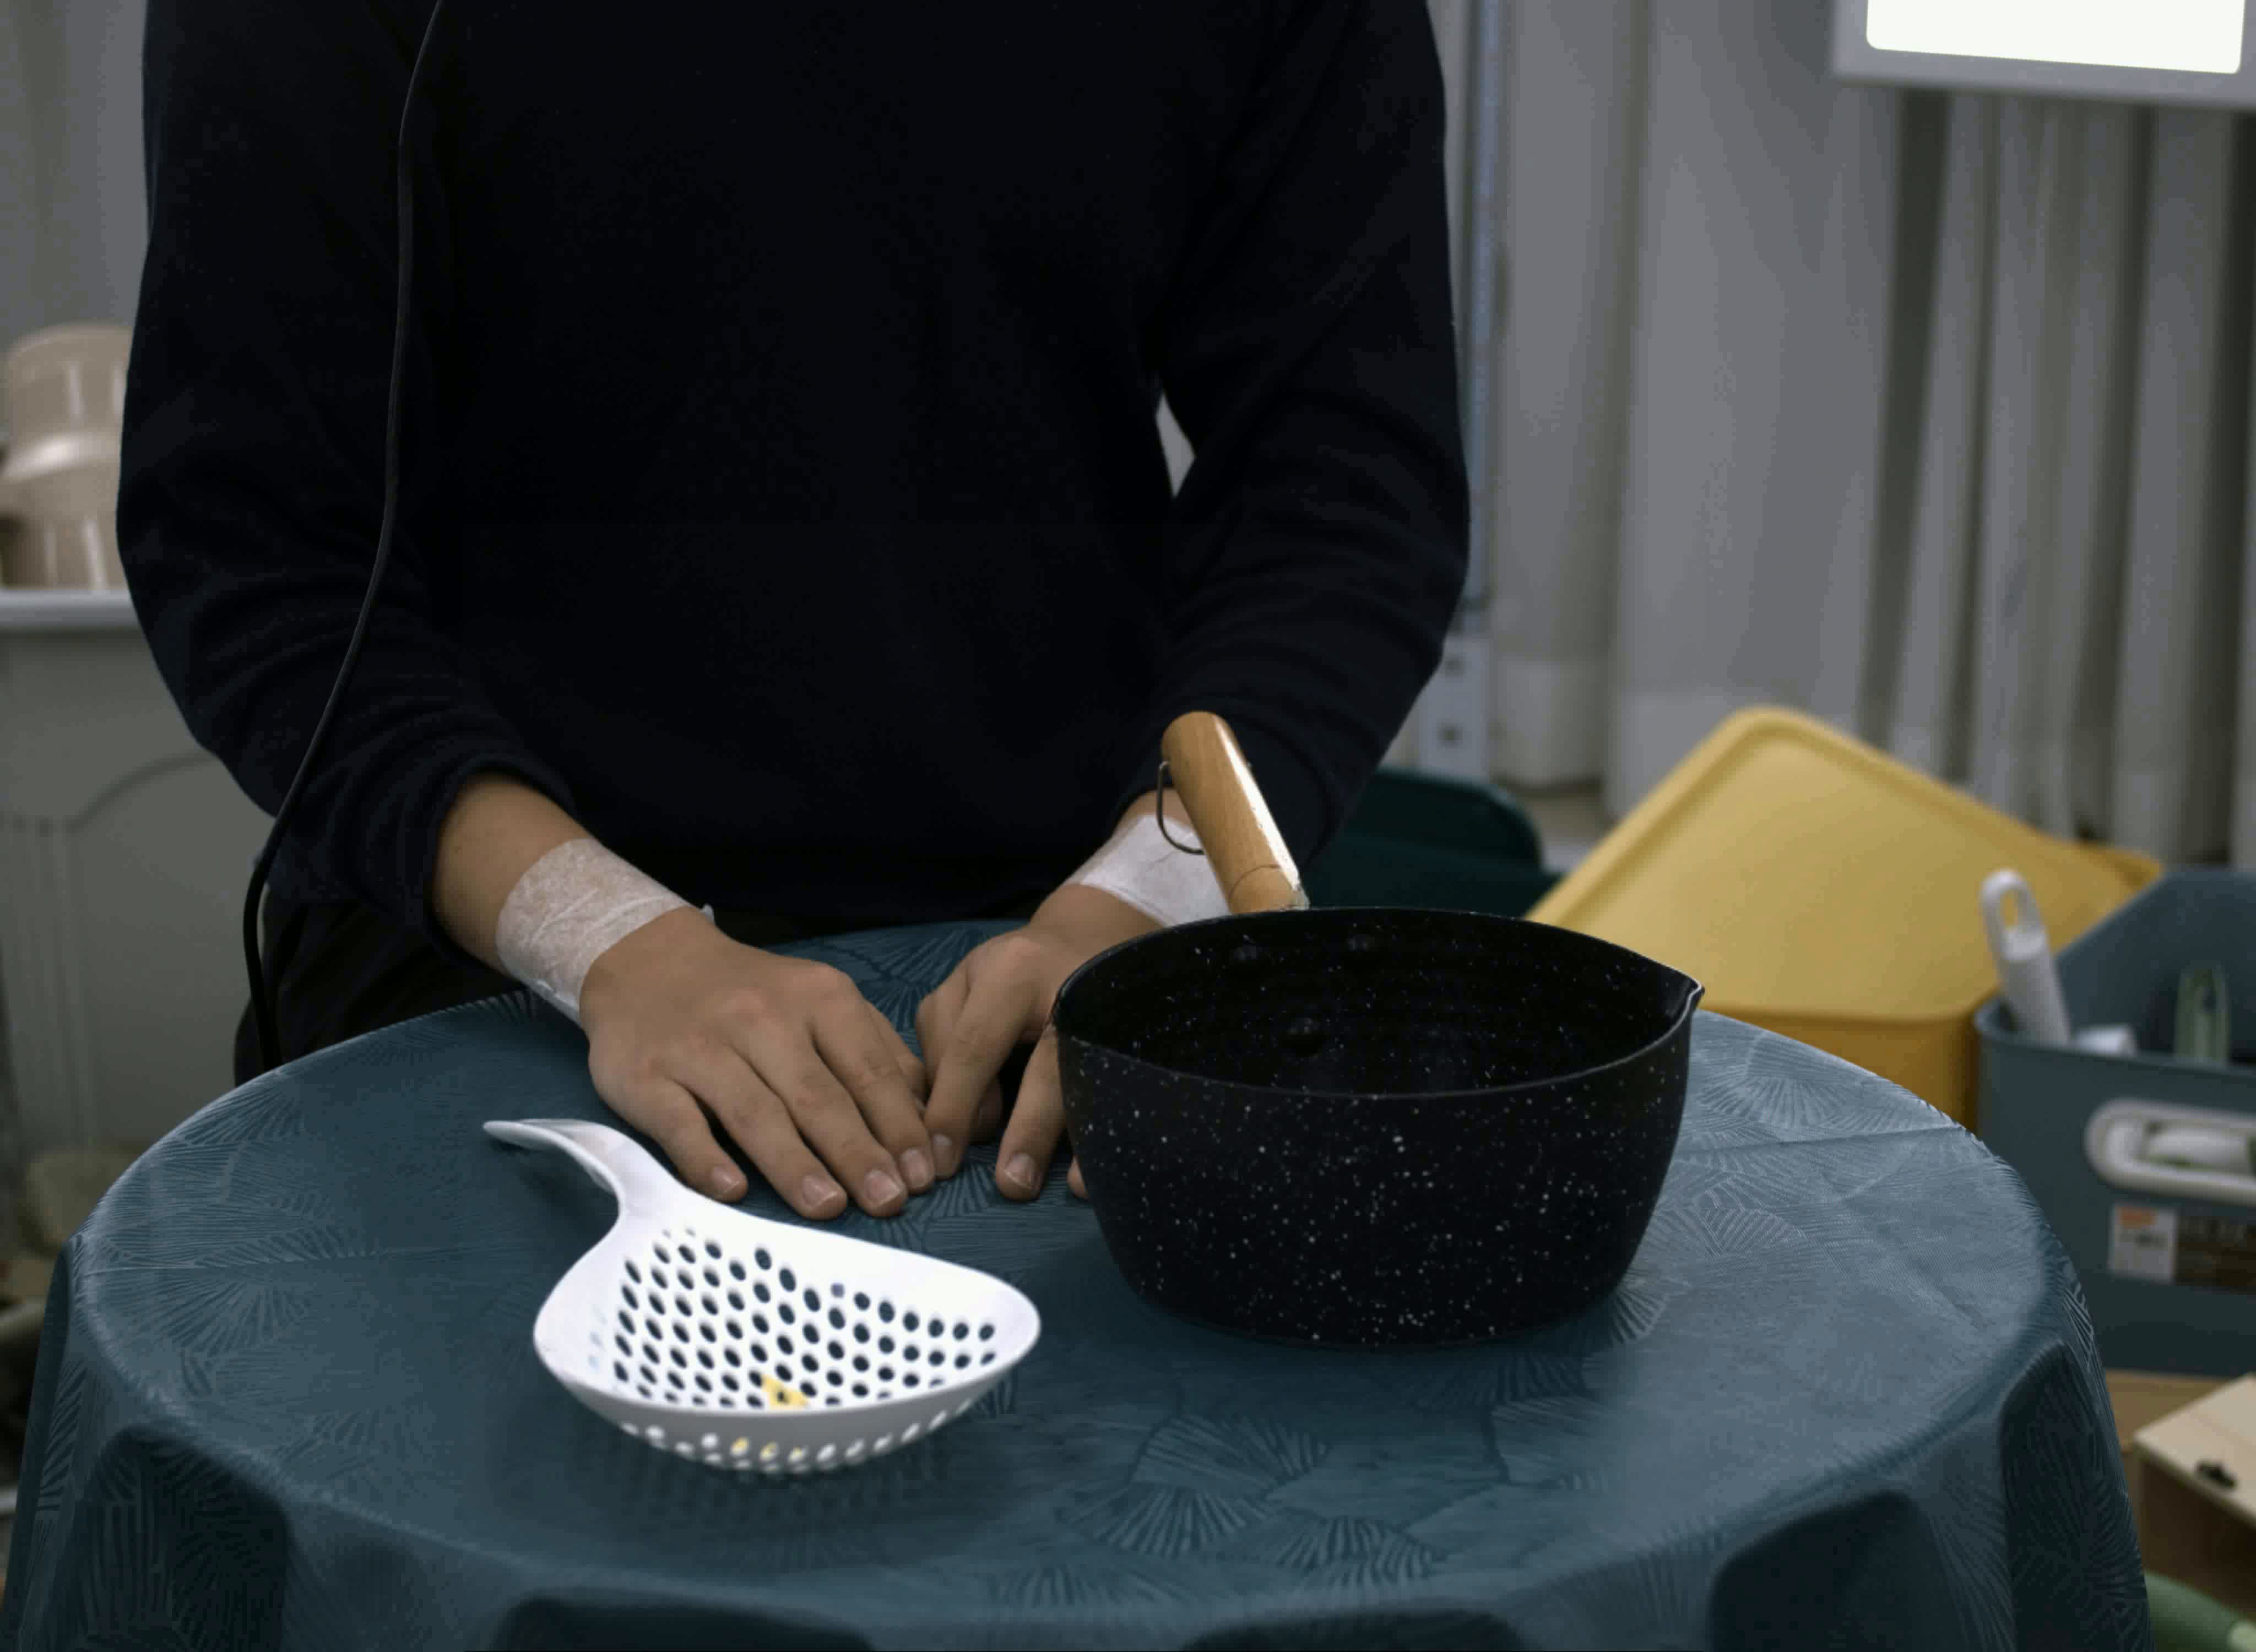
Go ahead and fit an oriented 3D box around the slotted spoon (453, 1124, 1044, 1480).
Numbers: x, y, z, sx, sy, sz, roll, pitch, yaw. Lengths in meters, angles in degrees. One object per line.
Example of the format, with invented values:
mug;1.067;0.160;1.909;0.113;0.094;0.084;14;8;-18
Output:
slotted spoon;-0.133;0.121;1.507;0.137;0.051;0.344;-8;19;-22

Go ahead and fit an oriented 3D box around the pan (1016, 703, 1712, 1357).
pan;0.055;0.057;1.620;0.207;0.109;0.339;-4;18;-12
